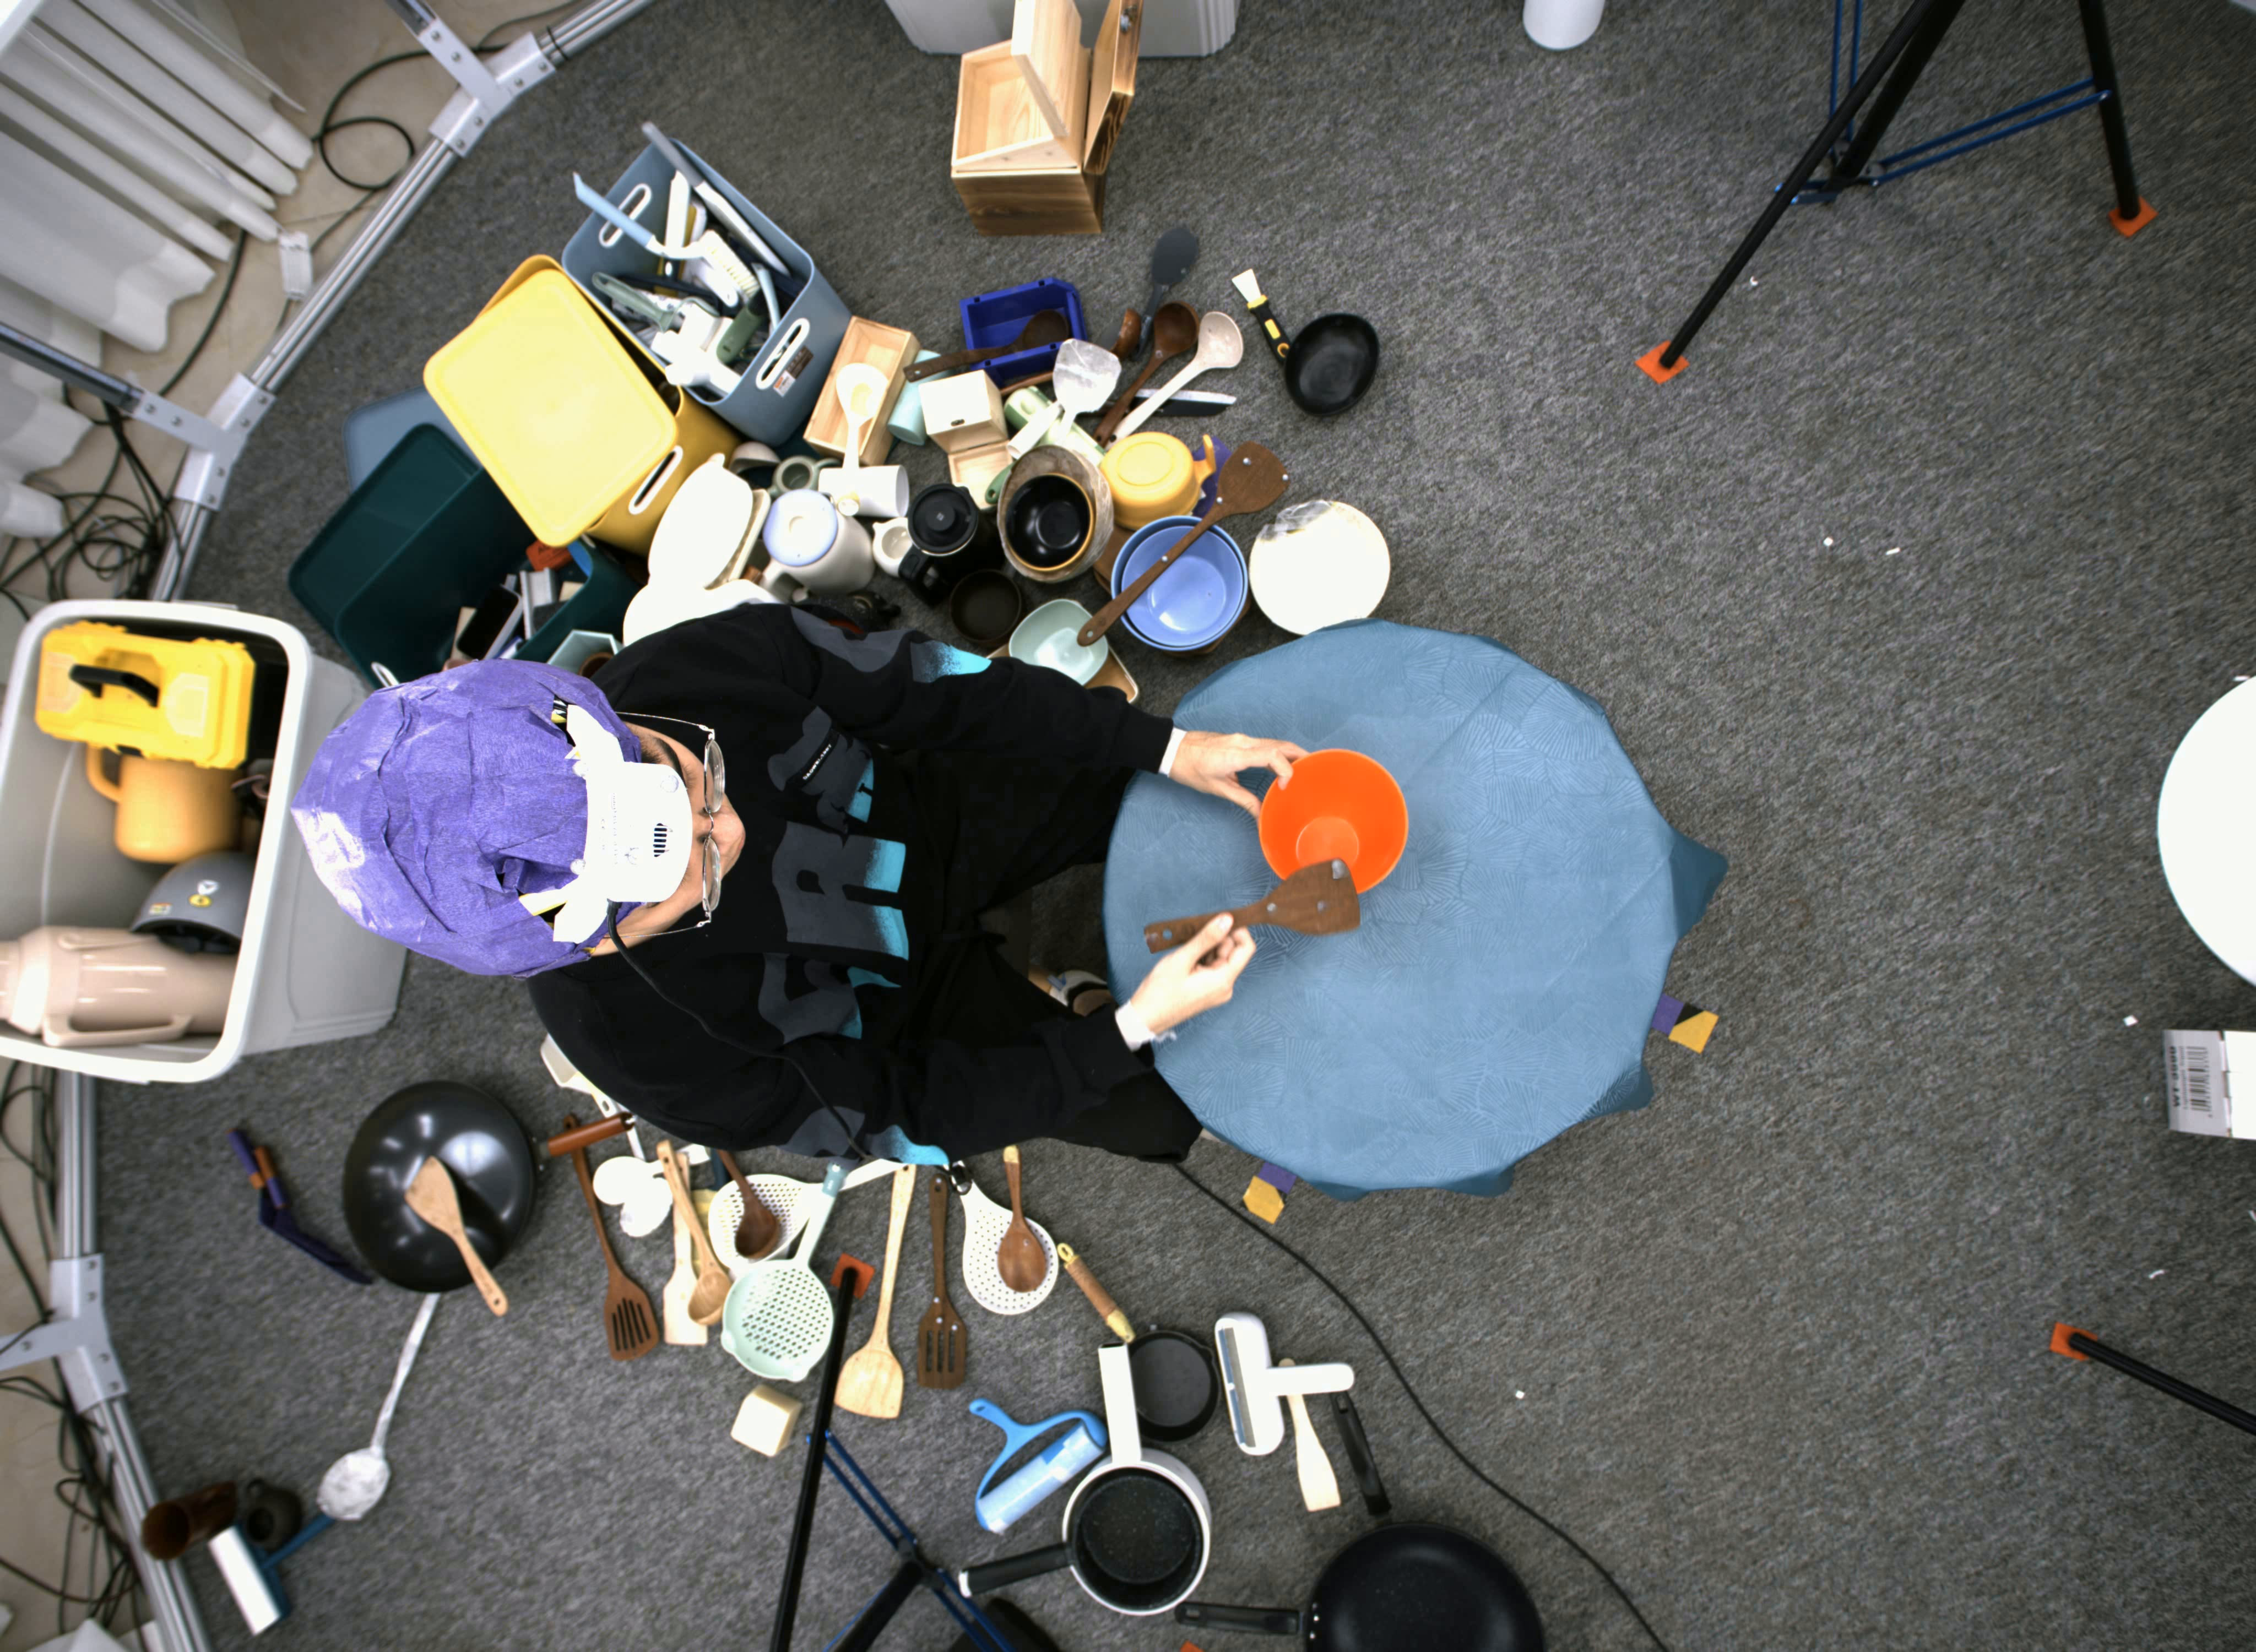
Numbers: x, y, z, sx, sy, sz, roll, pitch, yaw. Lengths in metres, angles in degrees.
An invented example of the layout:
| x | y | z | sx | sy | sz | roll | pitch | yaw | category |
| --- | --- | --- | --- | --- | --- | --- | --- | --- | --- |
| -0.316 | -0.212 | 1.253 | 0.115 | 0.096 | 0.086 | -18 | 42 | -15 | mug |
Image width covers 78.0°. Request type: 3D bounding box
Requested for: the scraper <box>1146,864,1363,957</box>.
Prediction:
| x | y | z | sx | sy | sz | roll | pitch | yaw | category |
| --- | --- | --- | --- | --- | --- | --- | --- | --- | --- |
| 0.121 | 0.092 | 1.352 | 0.212 | 0.011 | 0.076 | -13 | 96 | 7 | scraper |

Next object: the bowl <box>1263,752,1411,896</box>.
| x | y | z | sx | sy | sz | roll | pitch | yaw | category |
| --- | --- | --- | --- | --- | --- | --- | --- | --- | --- |
| 0.215 | 0.007 | 1.413 | 0.148 | 0.105 | 0.146 | -2 | 80 | 11 | bowl |
